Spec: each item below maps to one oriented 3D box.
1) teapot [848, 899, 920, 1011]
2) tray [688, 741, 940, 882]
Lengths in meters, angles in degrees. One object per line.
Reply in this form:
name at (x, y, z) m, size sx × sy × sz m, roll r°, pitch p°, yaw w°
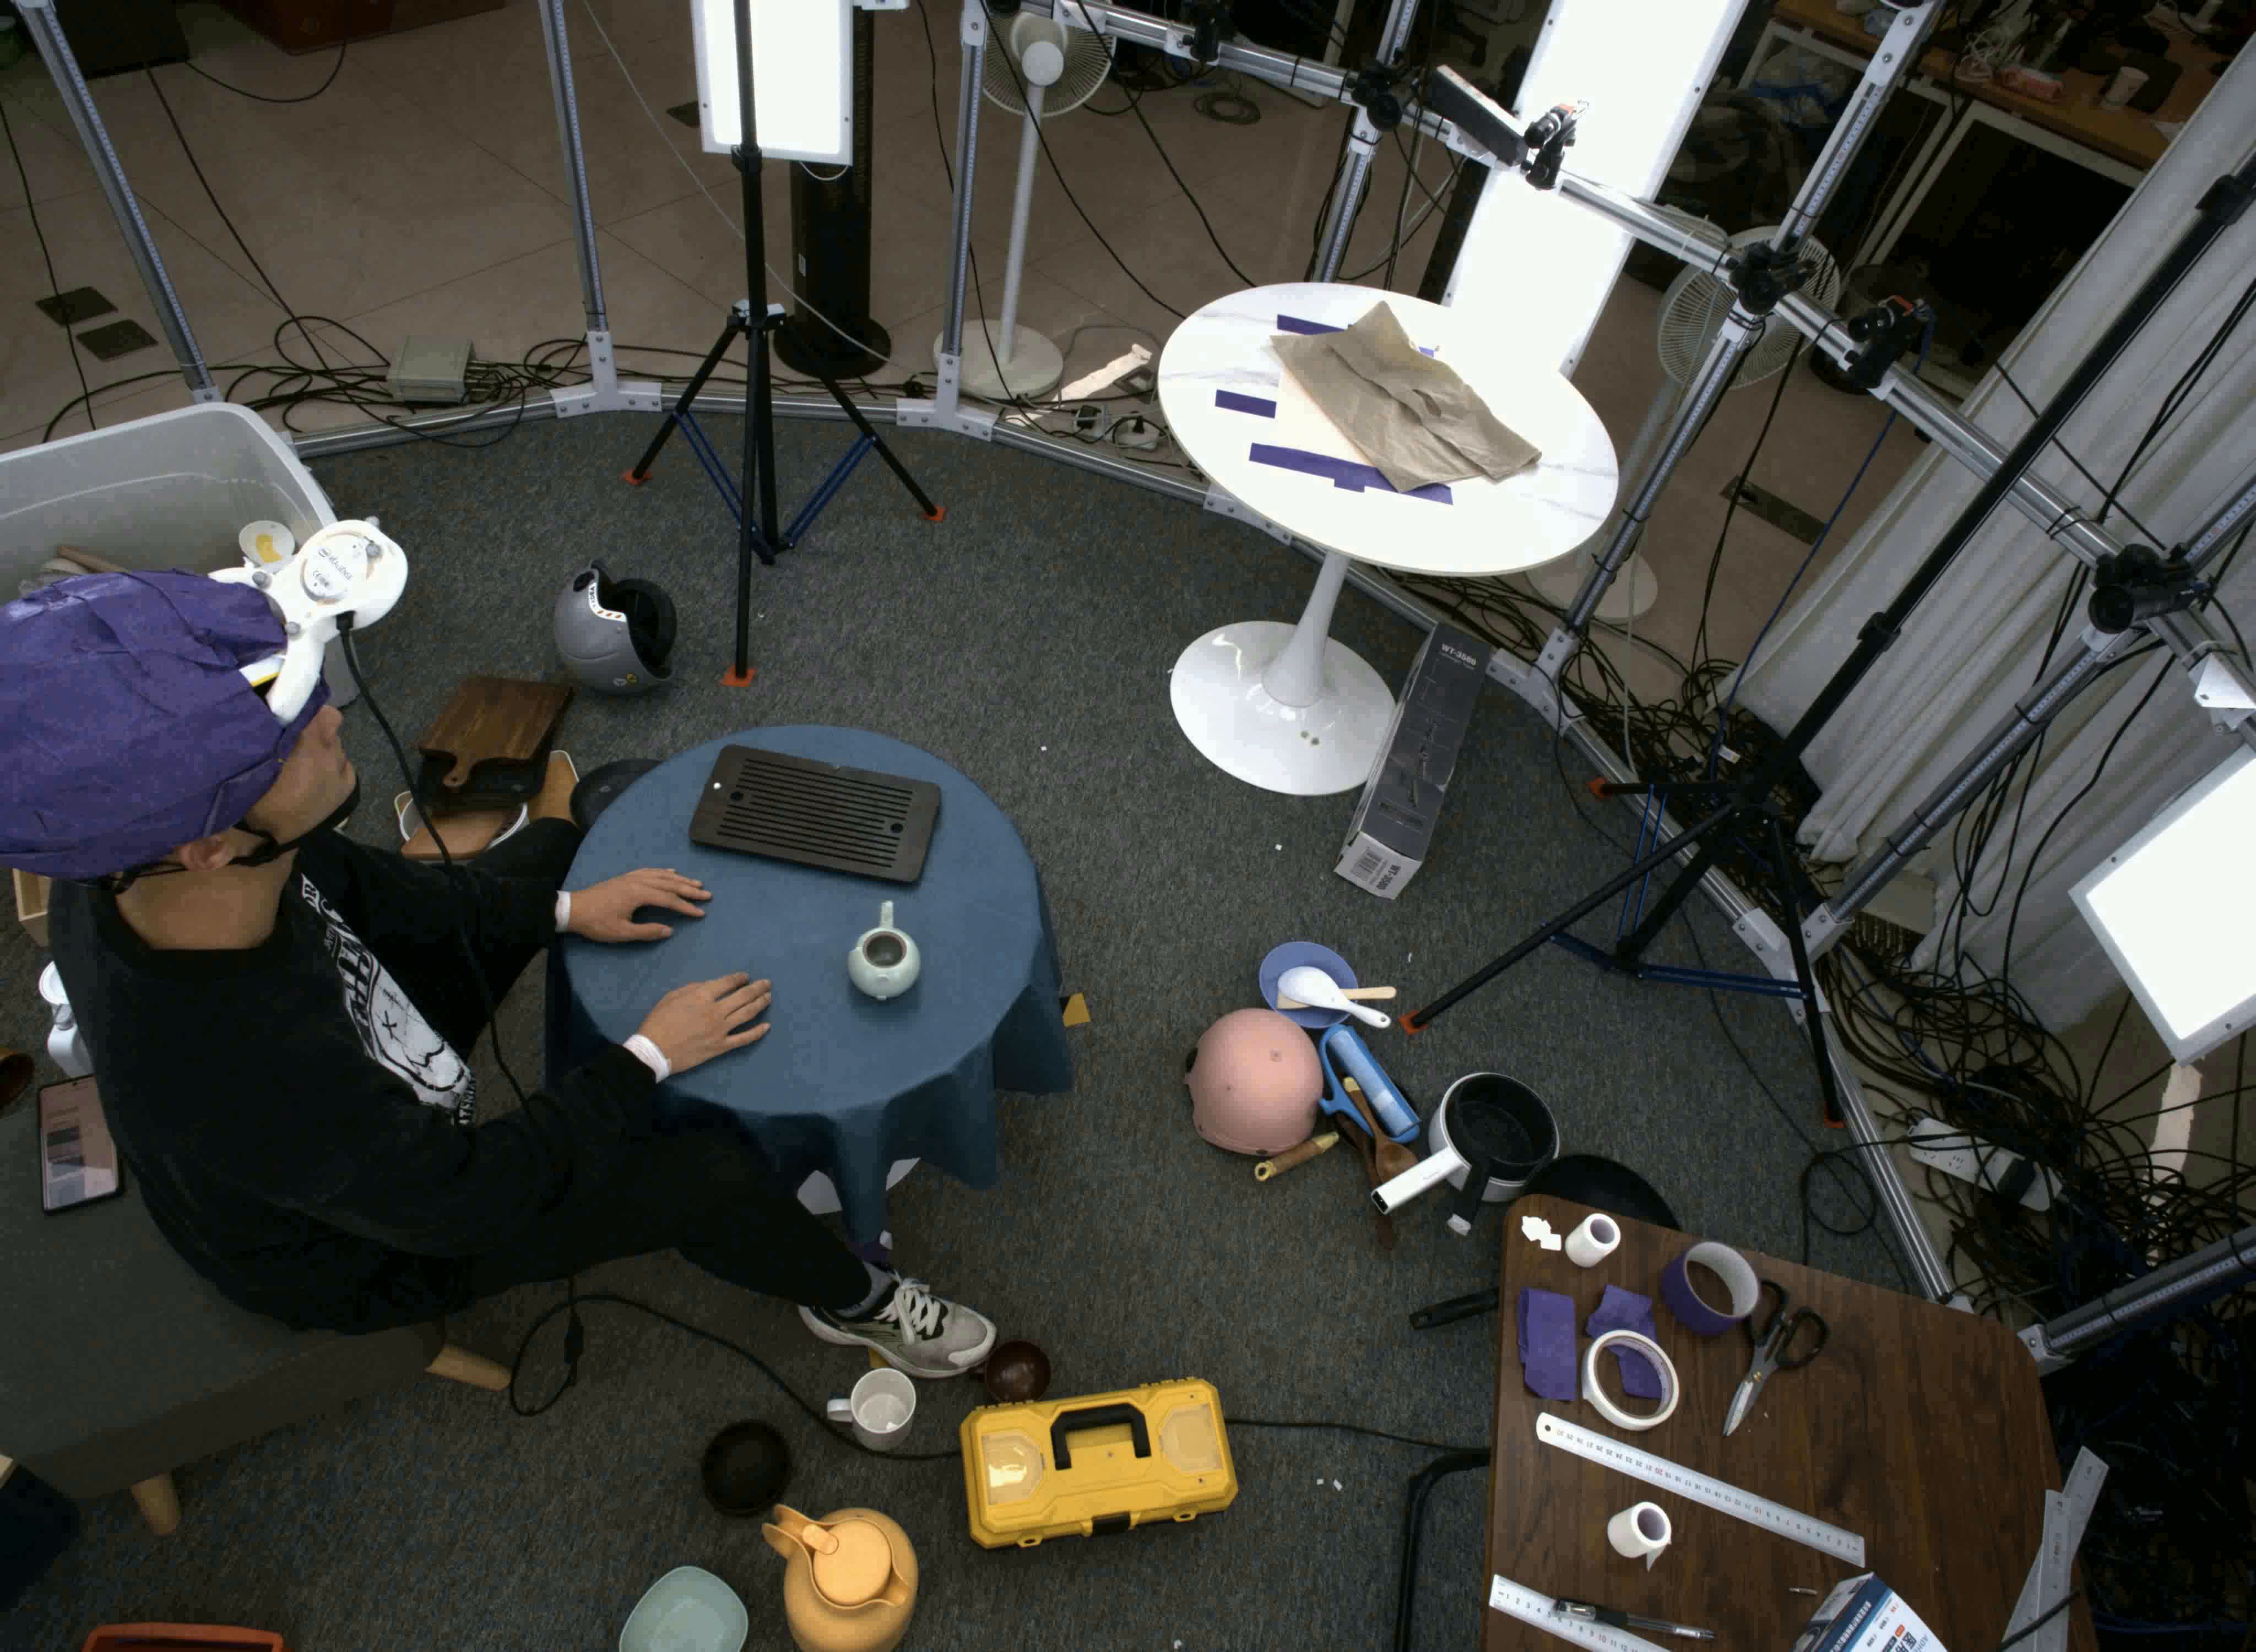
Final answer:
teapot at (-0.297, 0.164, 1.584) m, size 0.088 × 0.076 × 0.141 m, roll 5°, pitch 51°, yaw -9°
tray at (-0.414, -0.020, 1.727) m, size 0.304 × 0.019 × 0.167 m, roll 11°, pitch 52°, yaw -6°
